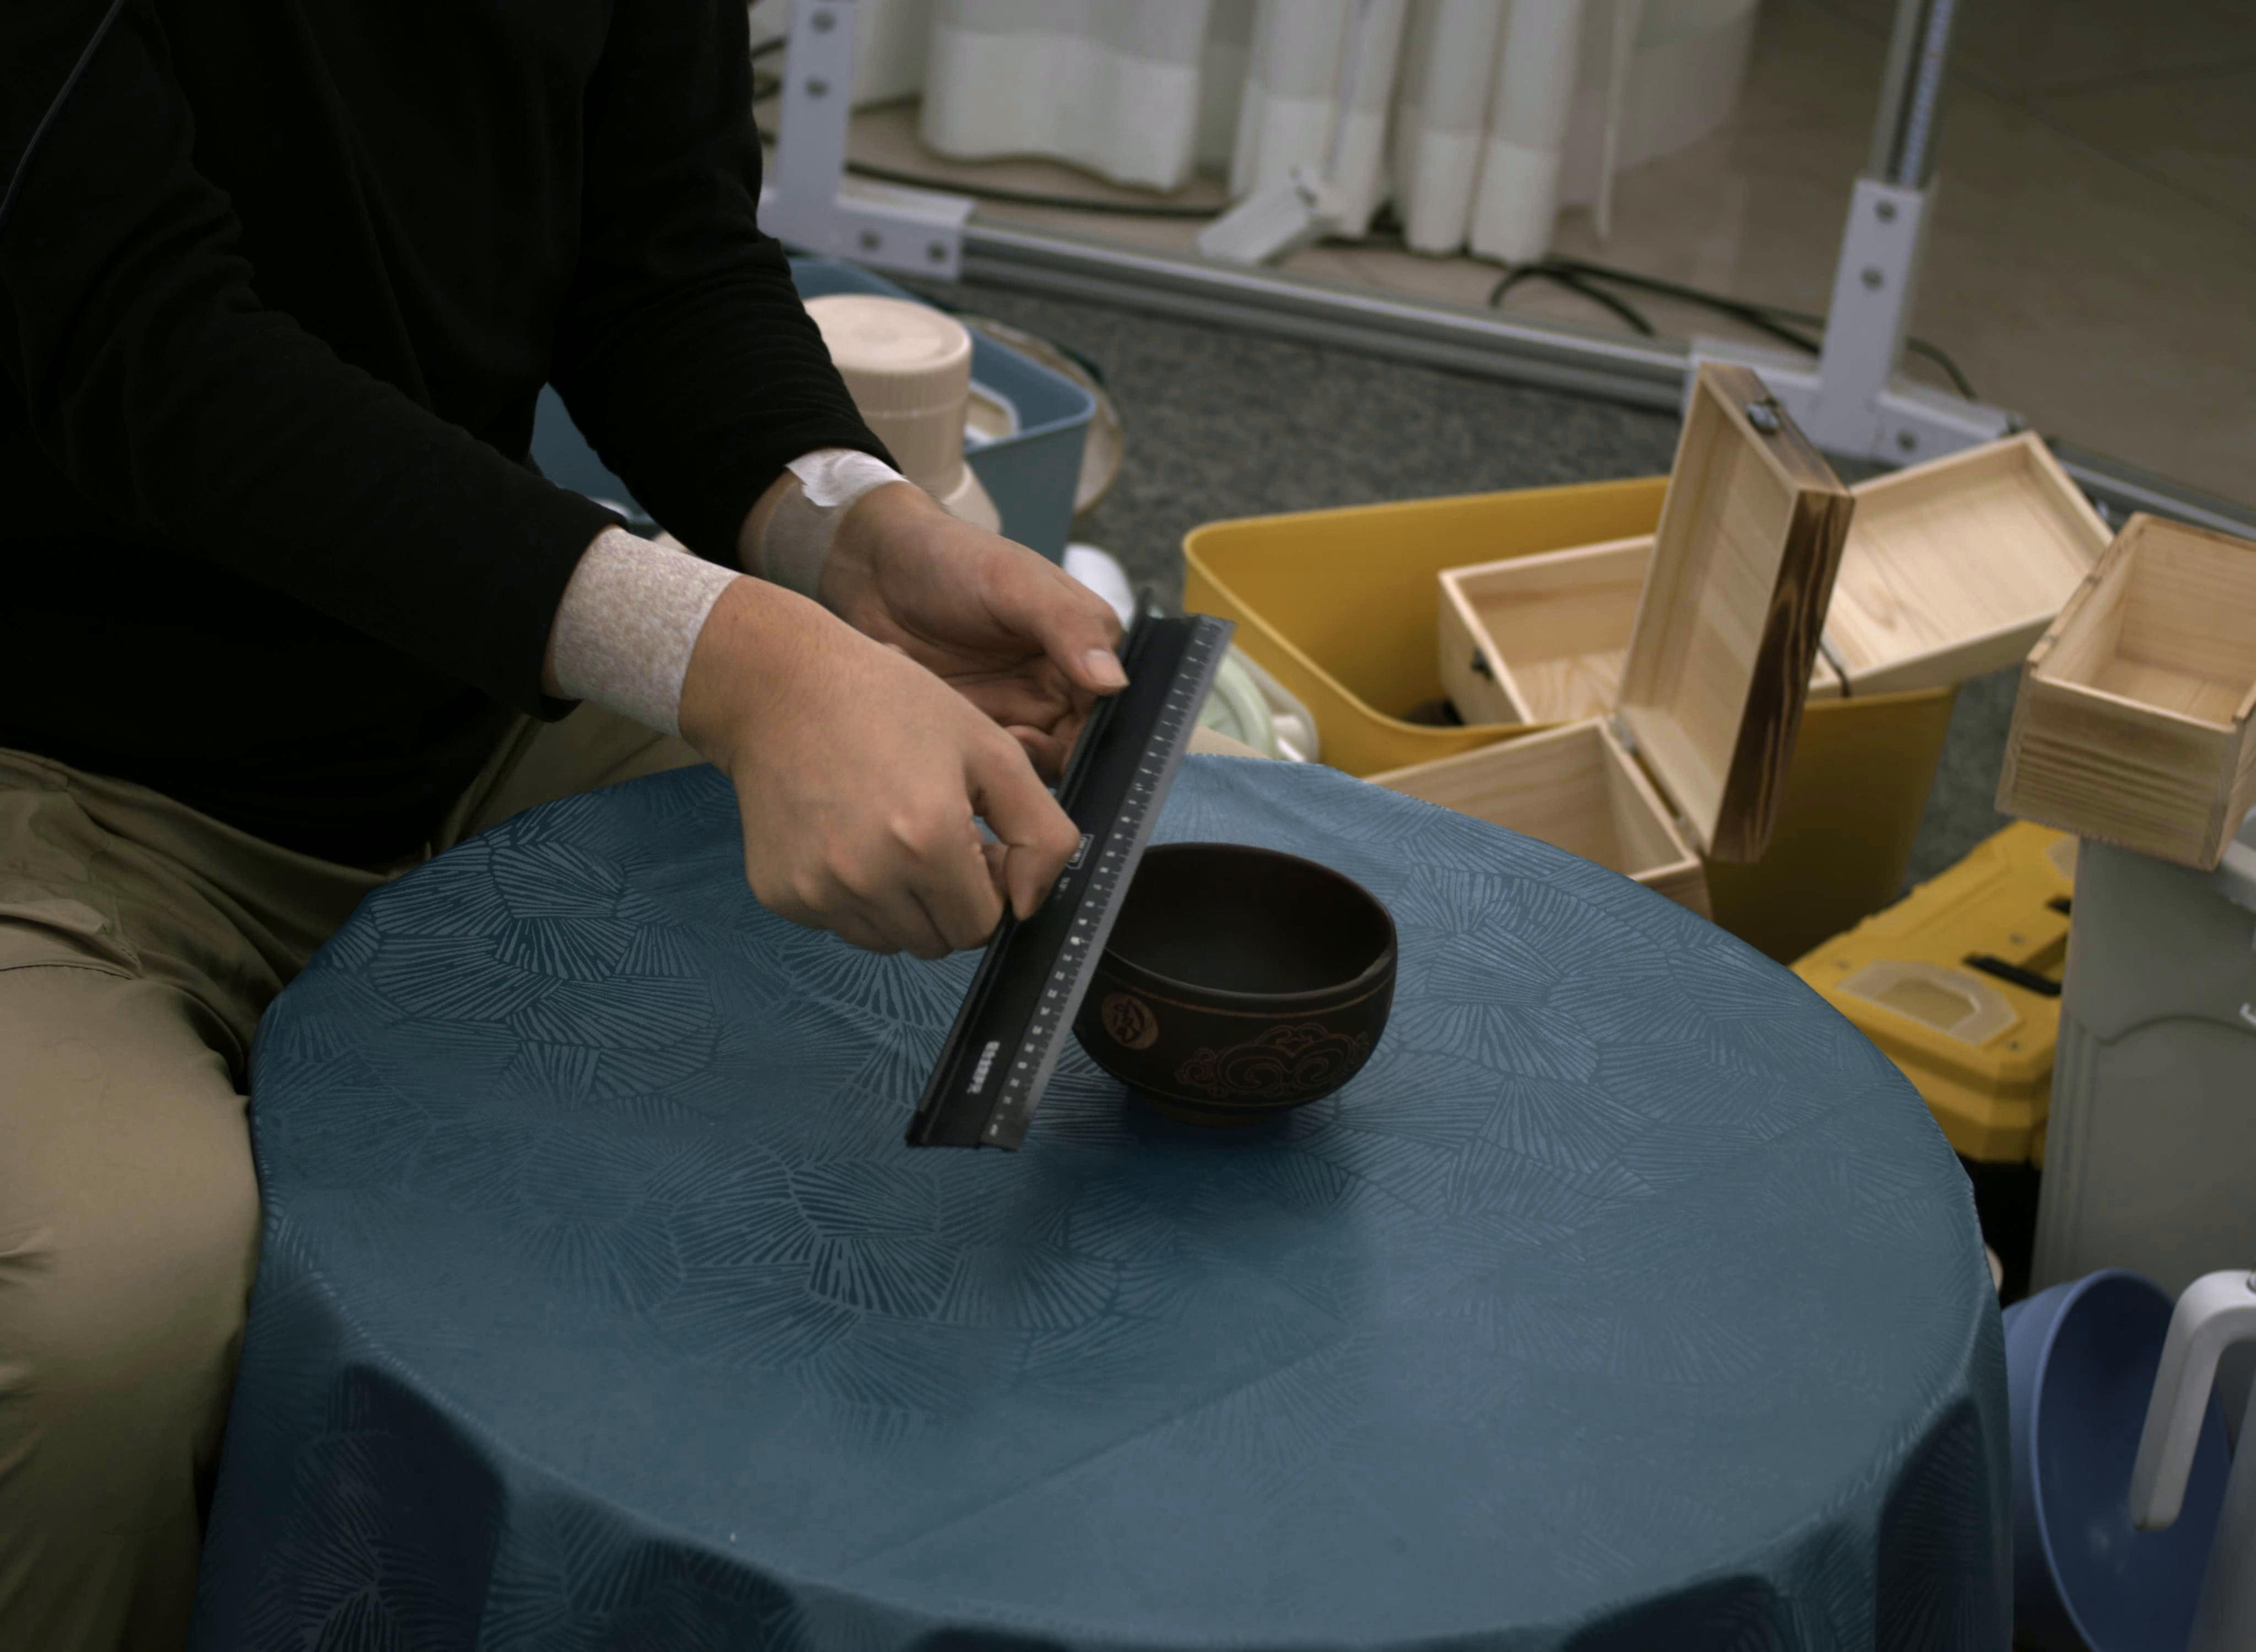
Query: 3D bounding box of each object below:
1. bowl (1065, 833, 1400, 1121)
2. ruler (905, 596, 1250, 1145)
[{"bbox_3d":[0.033,0.059,1.855,0.117,0.069,0.119,6,27,-3],"label":"bowl"},{"bbox_3d":[-0.014,0.009,1.793,0.039,0.017,0.314,5,35,15],"label":"ruler"}]
